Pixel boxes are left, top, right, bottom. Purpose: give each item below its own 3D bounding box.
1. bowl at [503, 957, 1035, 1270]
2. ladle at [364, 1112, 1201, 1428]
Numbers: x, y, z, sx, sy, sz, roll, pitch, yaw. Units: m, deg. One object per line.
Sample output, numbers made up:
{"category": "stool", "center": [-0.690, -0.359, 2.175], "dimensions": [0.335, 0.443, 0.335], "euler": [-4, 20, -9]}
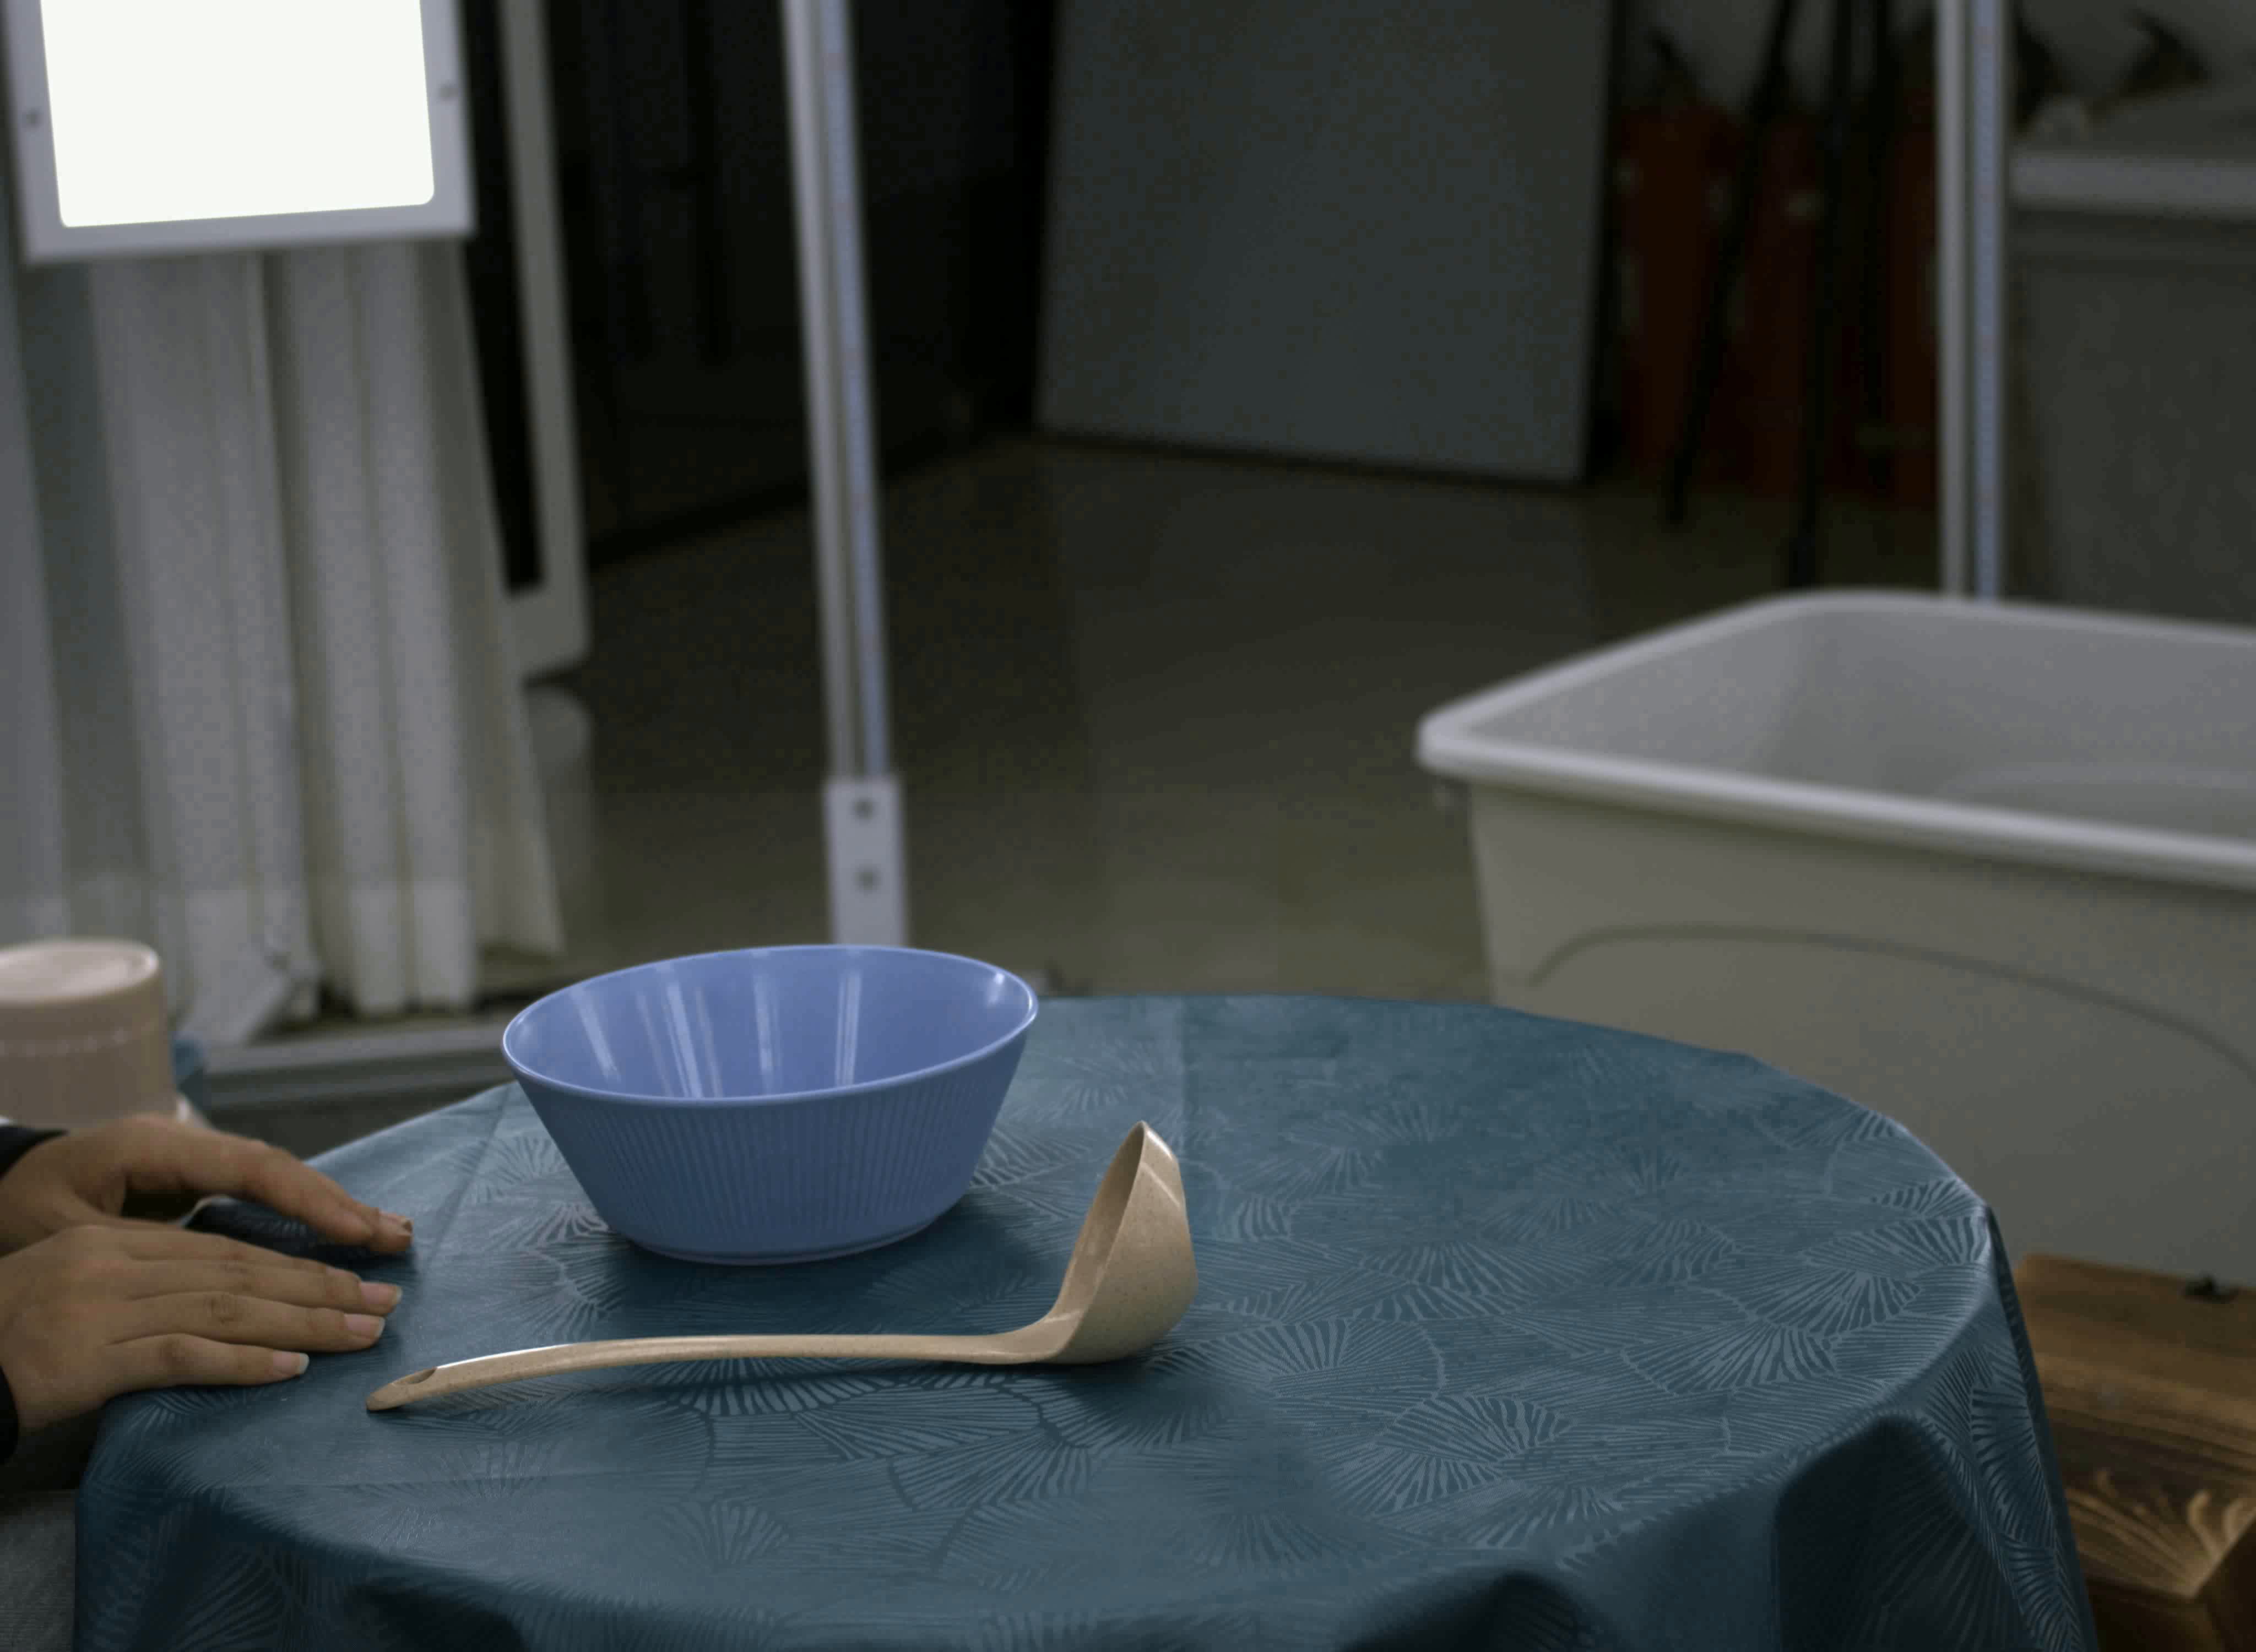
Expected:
{"category": "bowl", "center": [-0.114, 0.096, 1.761], "dimensions": [0.174, 0.071, 0.176], "euler": [-4, 13, 0]}
{"category": "ladle", "center": [-0.104, 0.131, 1.605], "dimensions": [0.251, 0.073, 0.072], "euler": [-5, 13, -2]}
